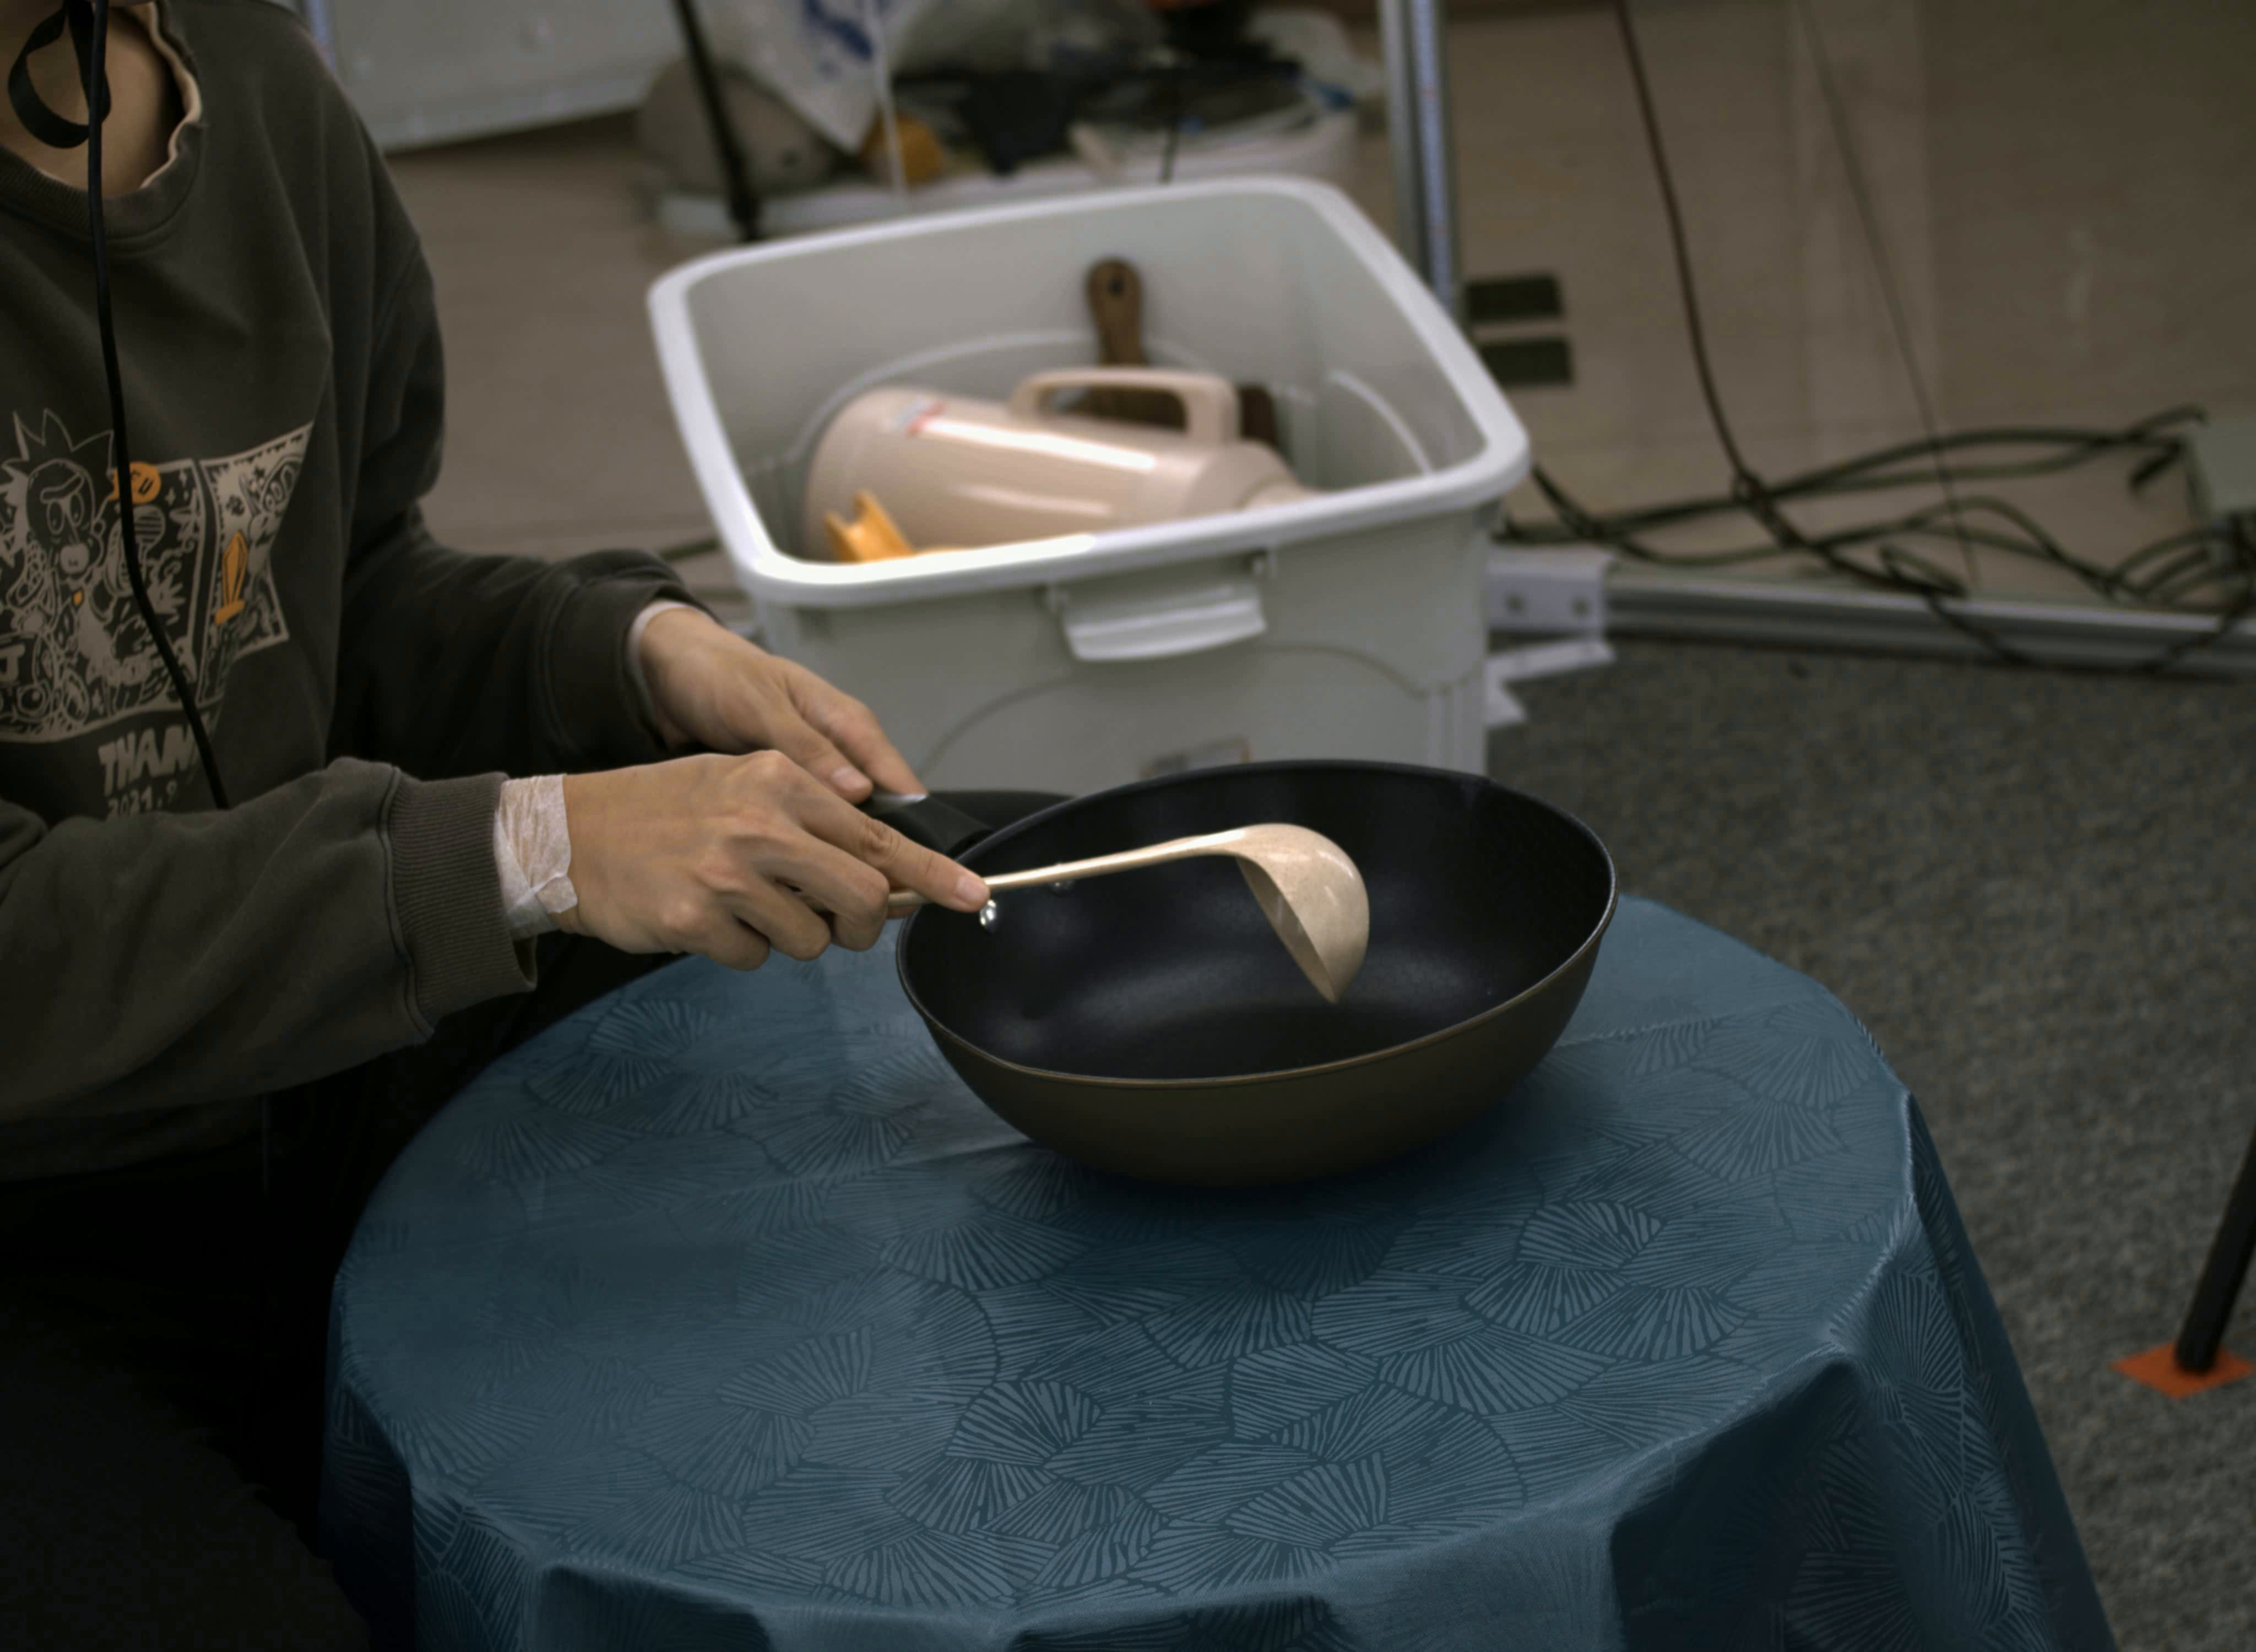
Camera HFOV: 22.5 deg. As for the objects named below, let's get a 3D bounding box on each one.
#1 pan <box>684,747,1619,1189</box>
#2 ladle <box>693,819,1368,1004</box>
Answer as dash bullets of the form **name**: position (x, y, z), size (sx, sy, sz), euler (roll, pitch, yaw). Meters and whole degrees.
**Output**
- **pan**: position (-0.014, 0.049, 2.245), size (0.460, 0.088, 0.285), euler (15, 33, 41)
- **ladle**: position (-0.036, 0.044, 2.135), size (0.254, 0.073, 0.071), euler (-6, 17, -11)
